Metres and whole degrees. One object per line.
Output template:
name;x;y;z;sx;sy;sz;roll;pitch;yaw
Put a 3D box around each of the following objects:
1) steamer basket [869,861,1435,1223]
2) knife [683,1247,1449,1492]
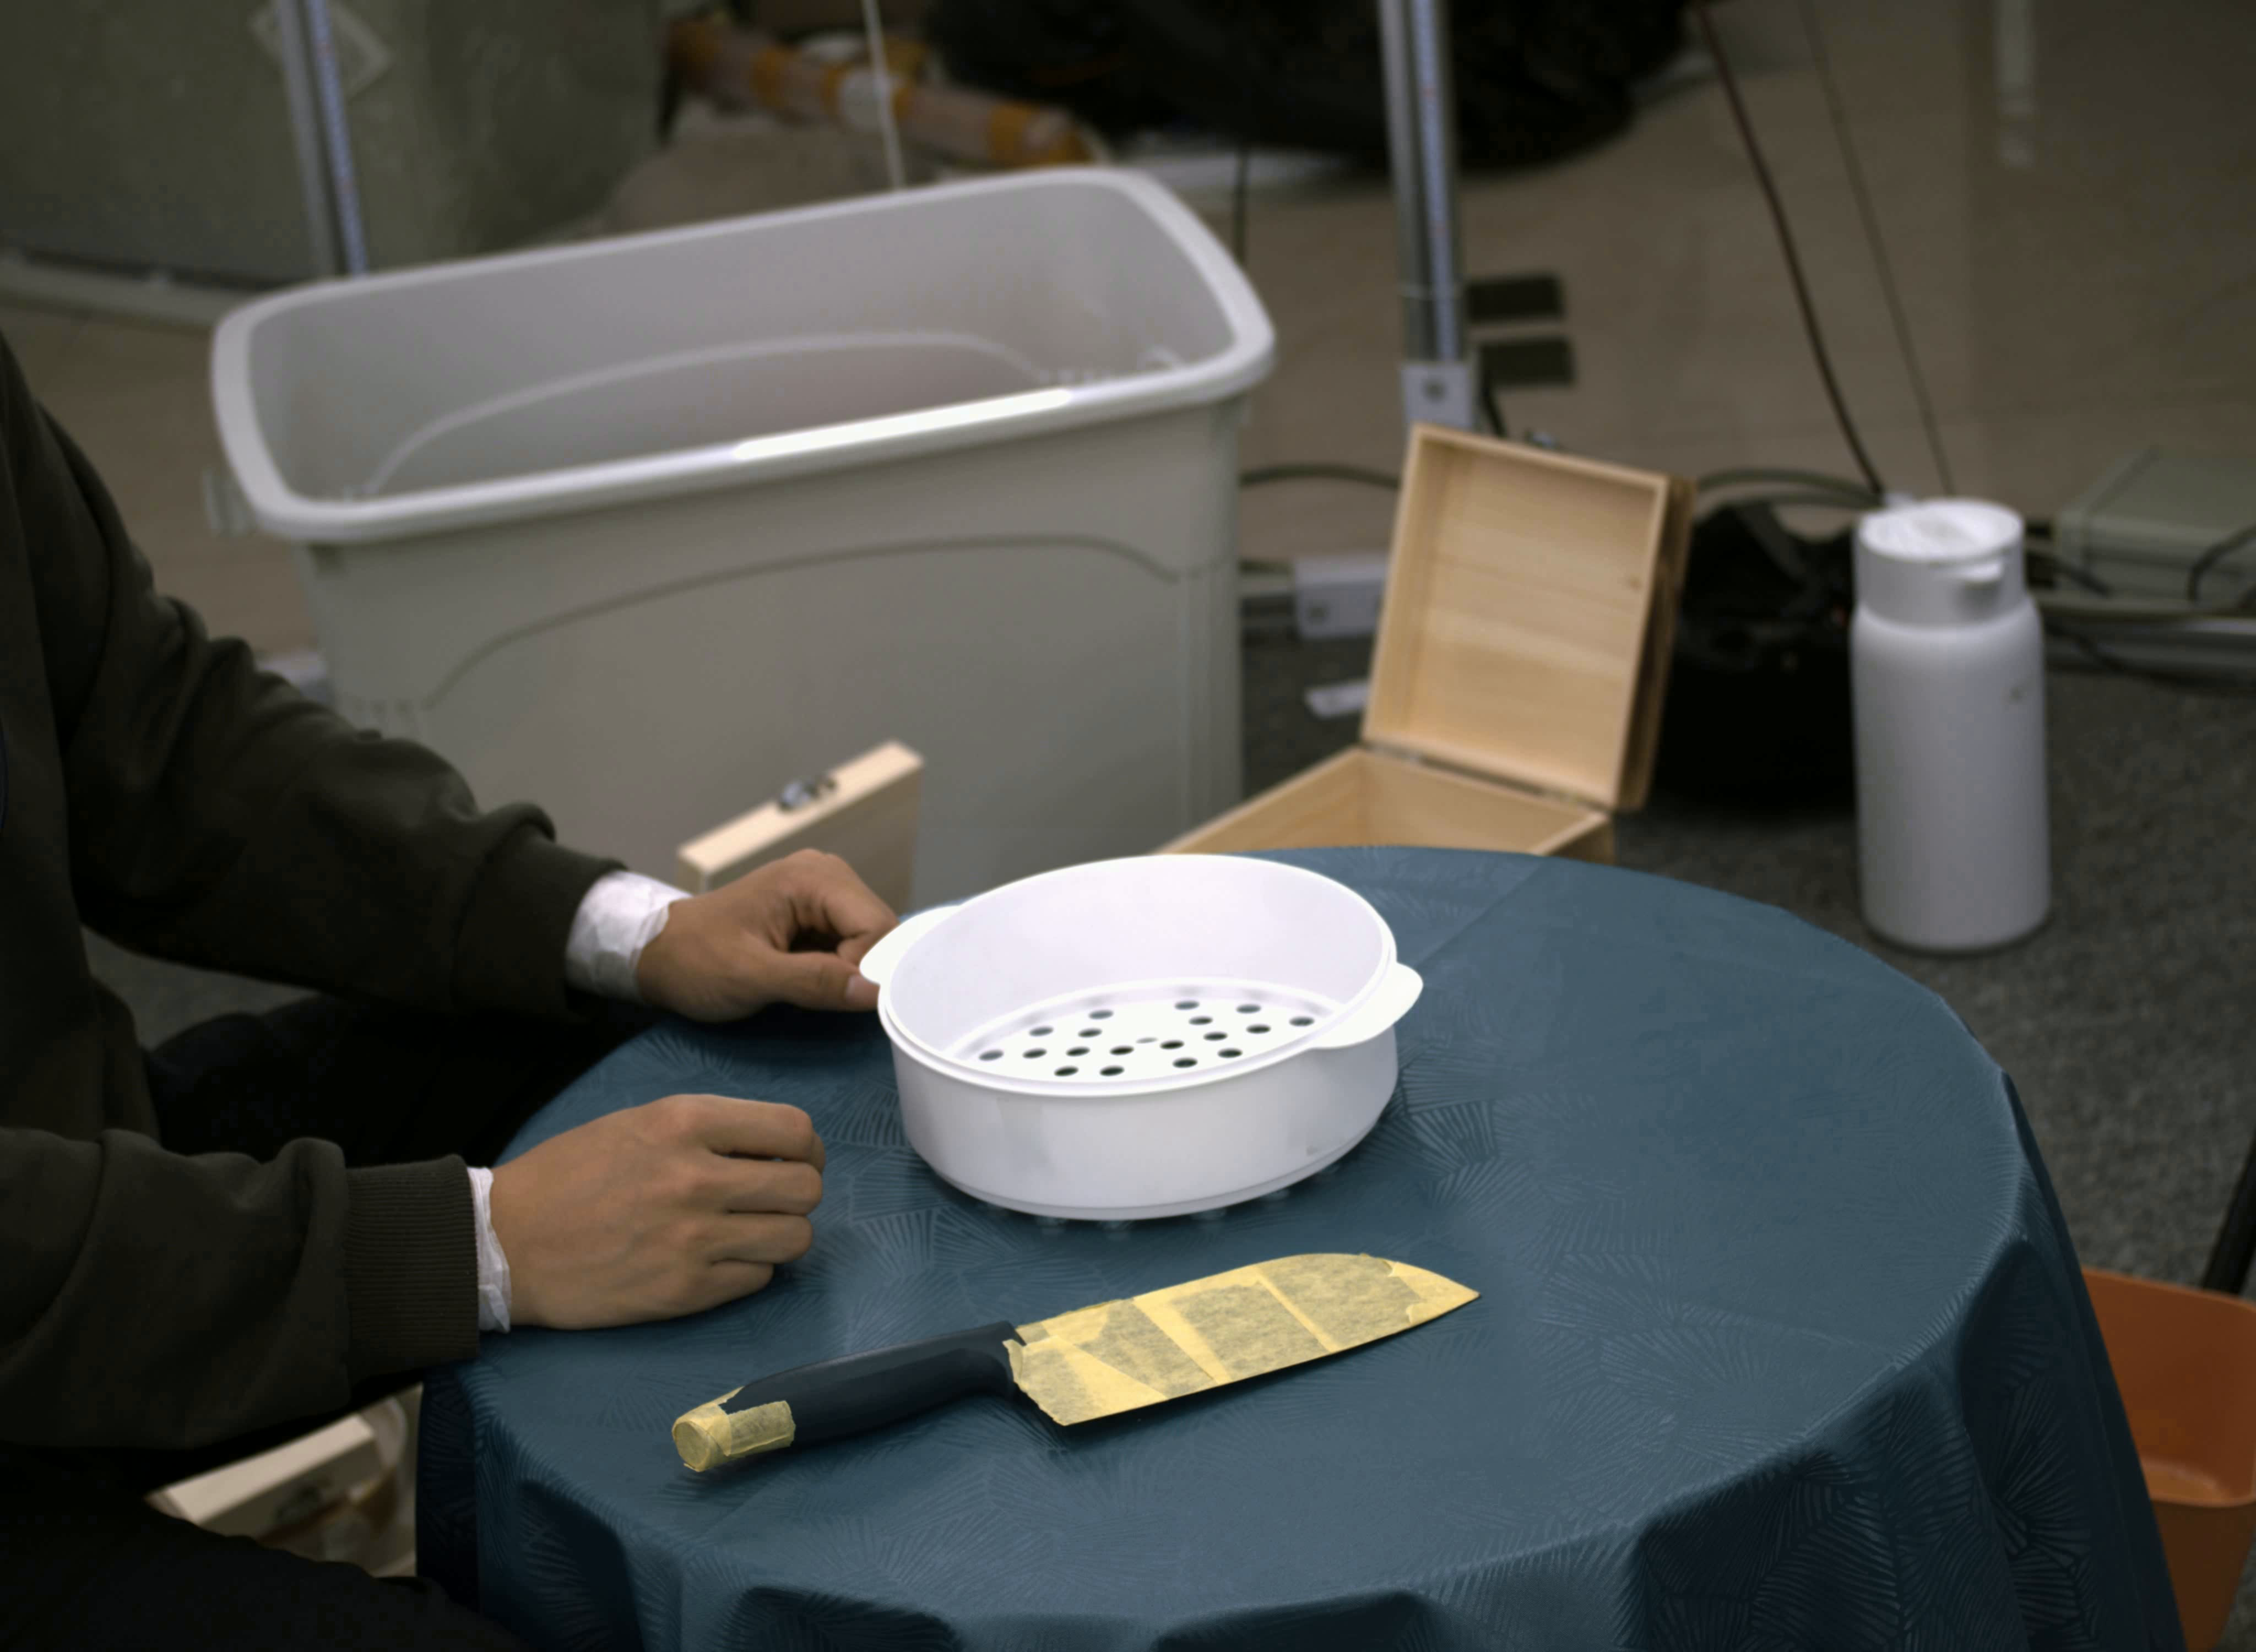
steamer basket;0.011;0.083;2.188;0.229;0.070;0.199;7;27;29
knife;-0.017;0.193;2.022;0.288;0.027;0.080;-14;25;-17
